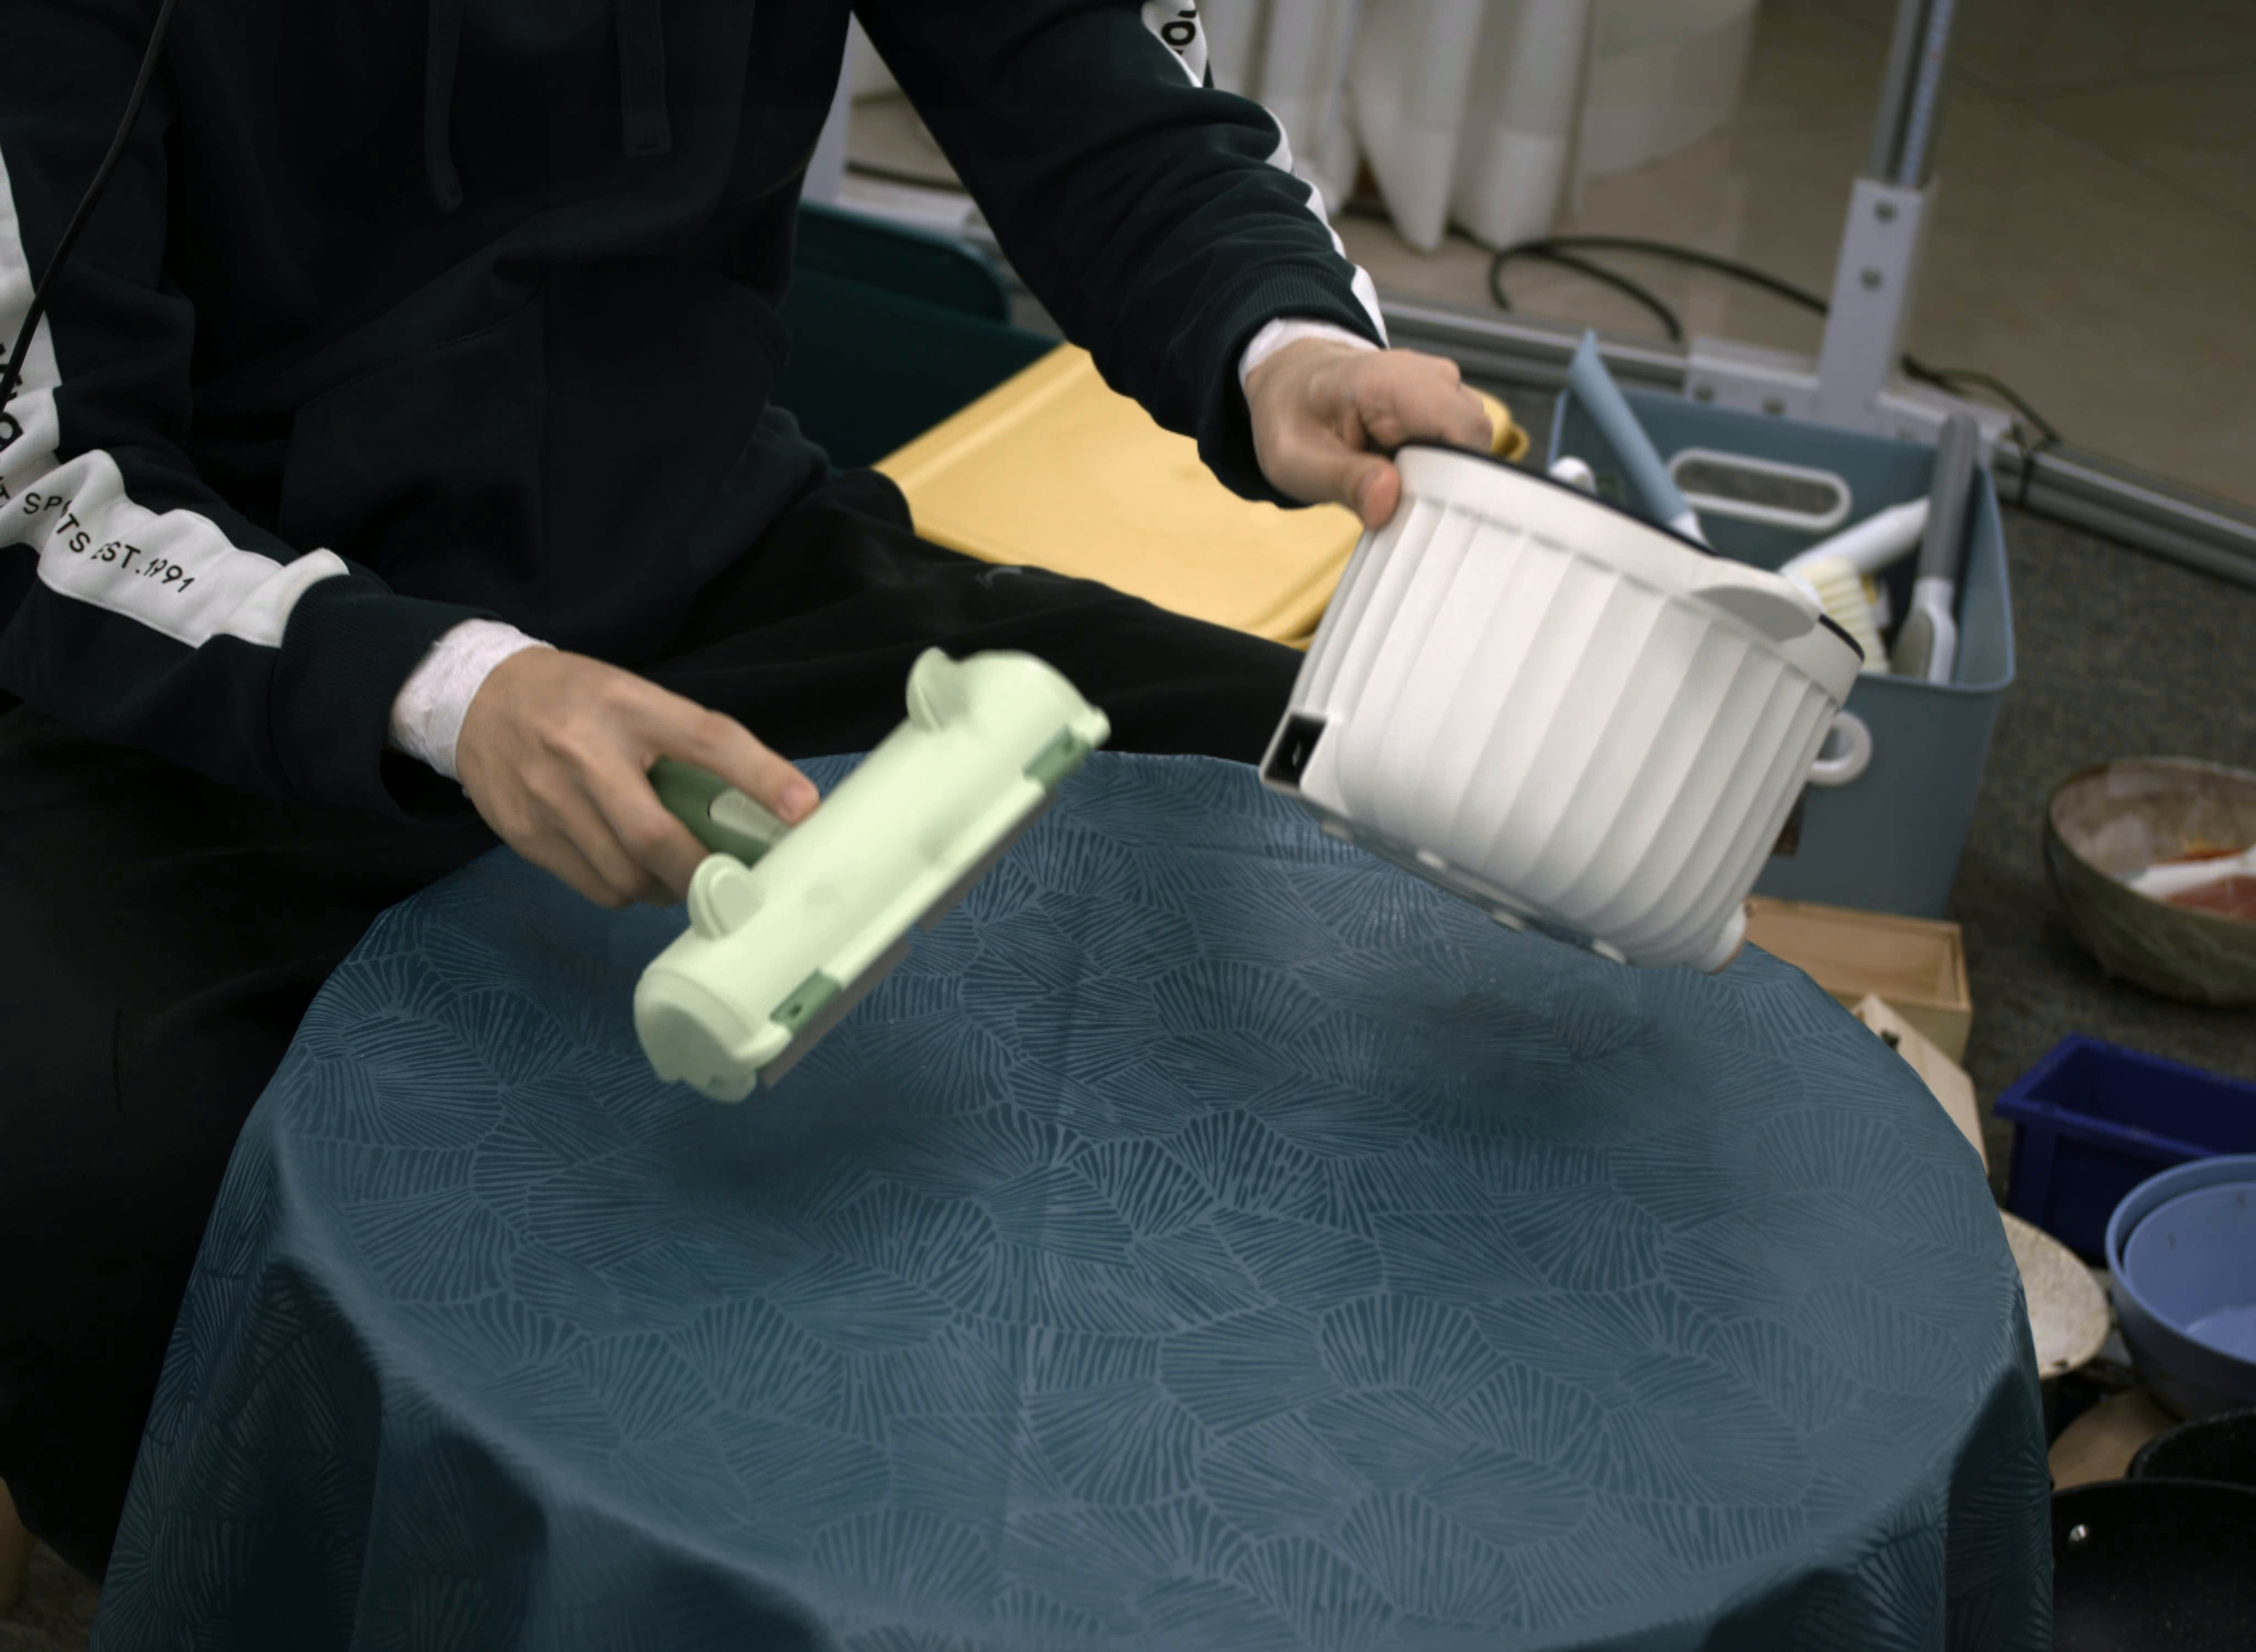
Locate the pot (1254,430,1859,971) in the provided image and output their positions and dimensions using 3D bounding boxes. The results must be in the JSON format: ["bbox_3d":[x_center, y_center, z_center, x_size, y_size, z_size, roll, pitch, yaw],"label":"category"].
[{"bbox_3d":[0.151,-0.037,1.878,0.189,0.143,0.242,25,-3,-24],"label":"pot"}]

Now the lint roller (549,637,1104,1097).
[{"bbox_3d":[-0.134,-0.011,1.815,0.184,0.081,0.198,23,52,31],"label":"lint roller"}]
